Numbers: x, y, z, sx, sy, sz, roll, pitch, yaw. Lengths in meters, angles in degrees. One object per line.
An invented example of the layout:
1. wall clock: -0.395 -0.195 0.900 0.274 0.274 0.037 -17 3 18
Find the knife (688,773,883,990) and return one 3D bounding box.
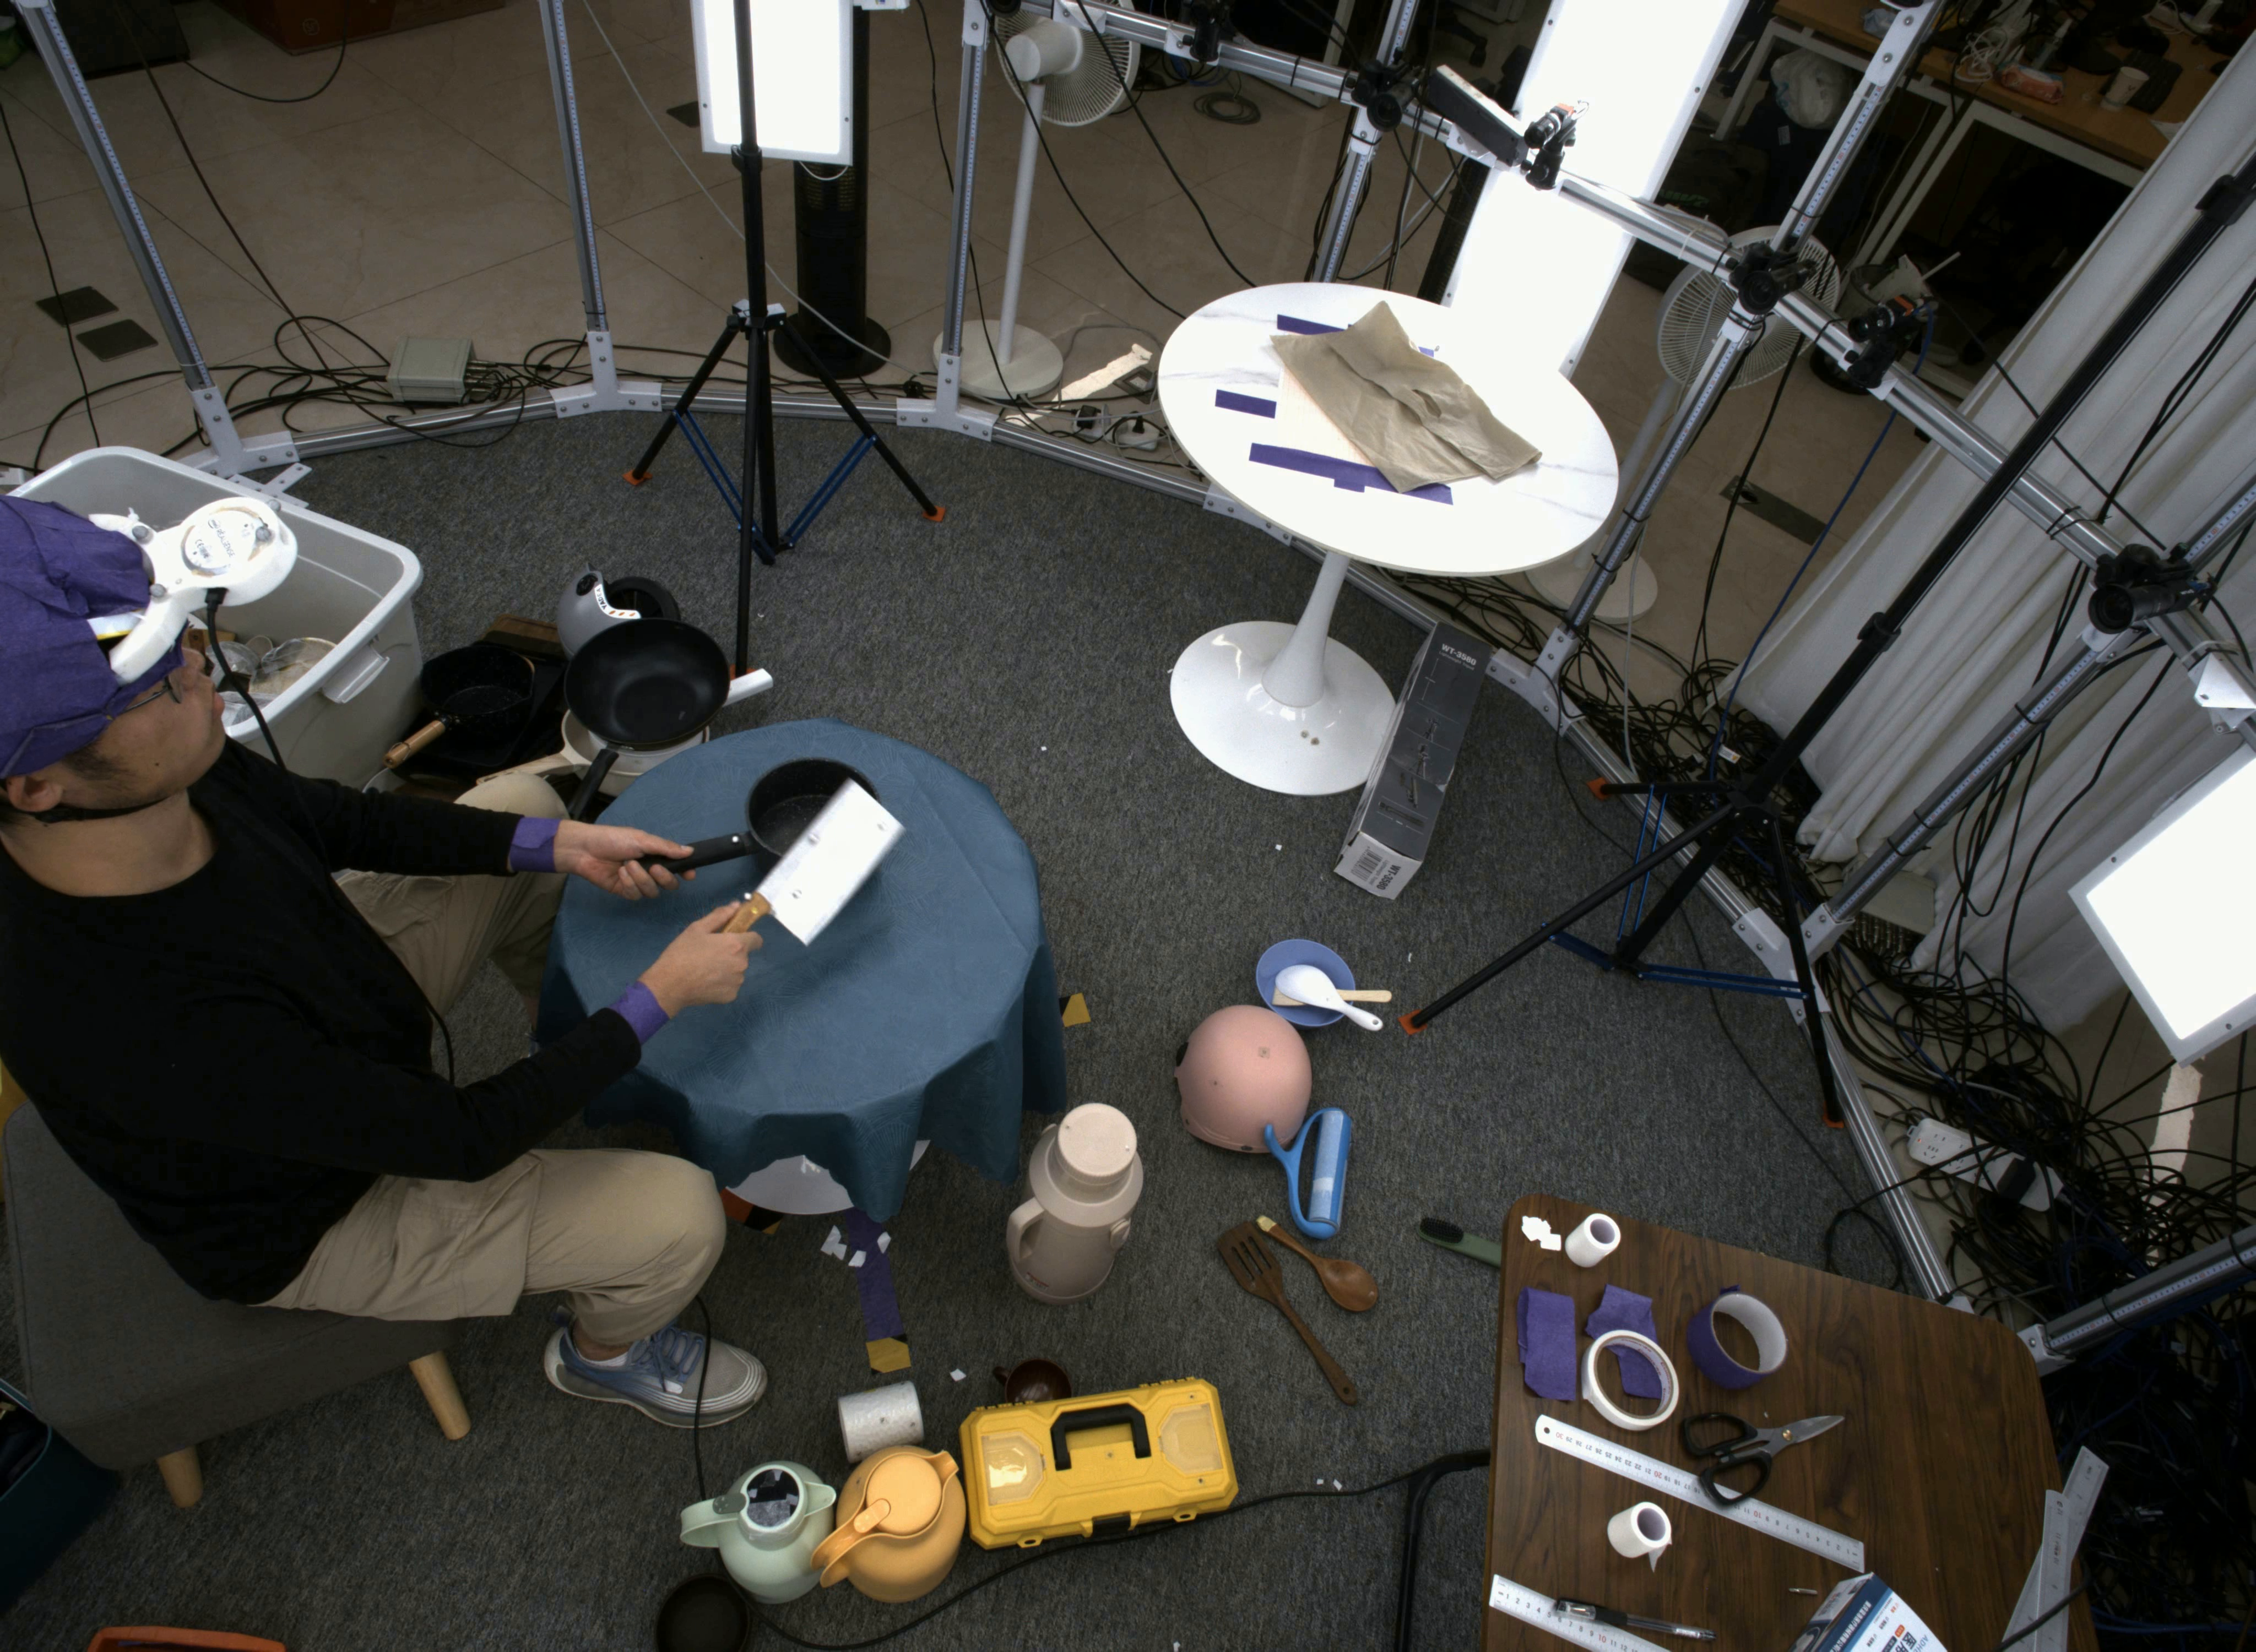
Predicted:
1. knife: -0.396 0.076 1.535 0.095 0.020 0.305 43 66 -23

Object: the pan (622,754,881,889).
1. pan: -0.473 0.020 1.638 0.331 0.088 0.168 -19 60 -28
